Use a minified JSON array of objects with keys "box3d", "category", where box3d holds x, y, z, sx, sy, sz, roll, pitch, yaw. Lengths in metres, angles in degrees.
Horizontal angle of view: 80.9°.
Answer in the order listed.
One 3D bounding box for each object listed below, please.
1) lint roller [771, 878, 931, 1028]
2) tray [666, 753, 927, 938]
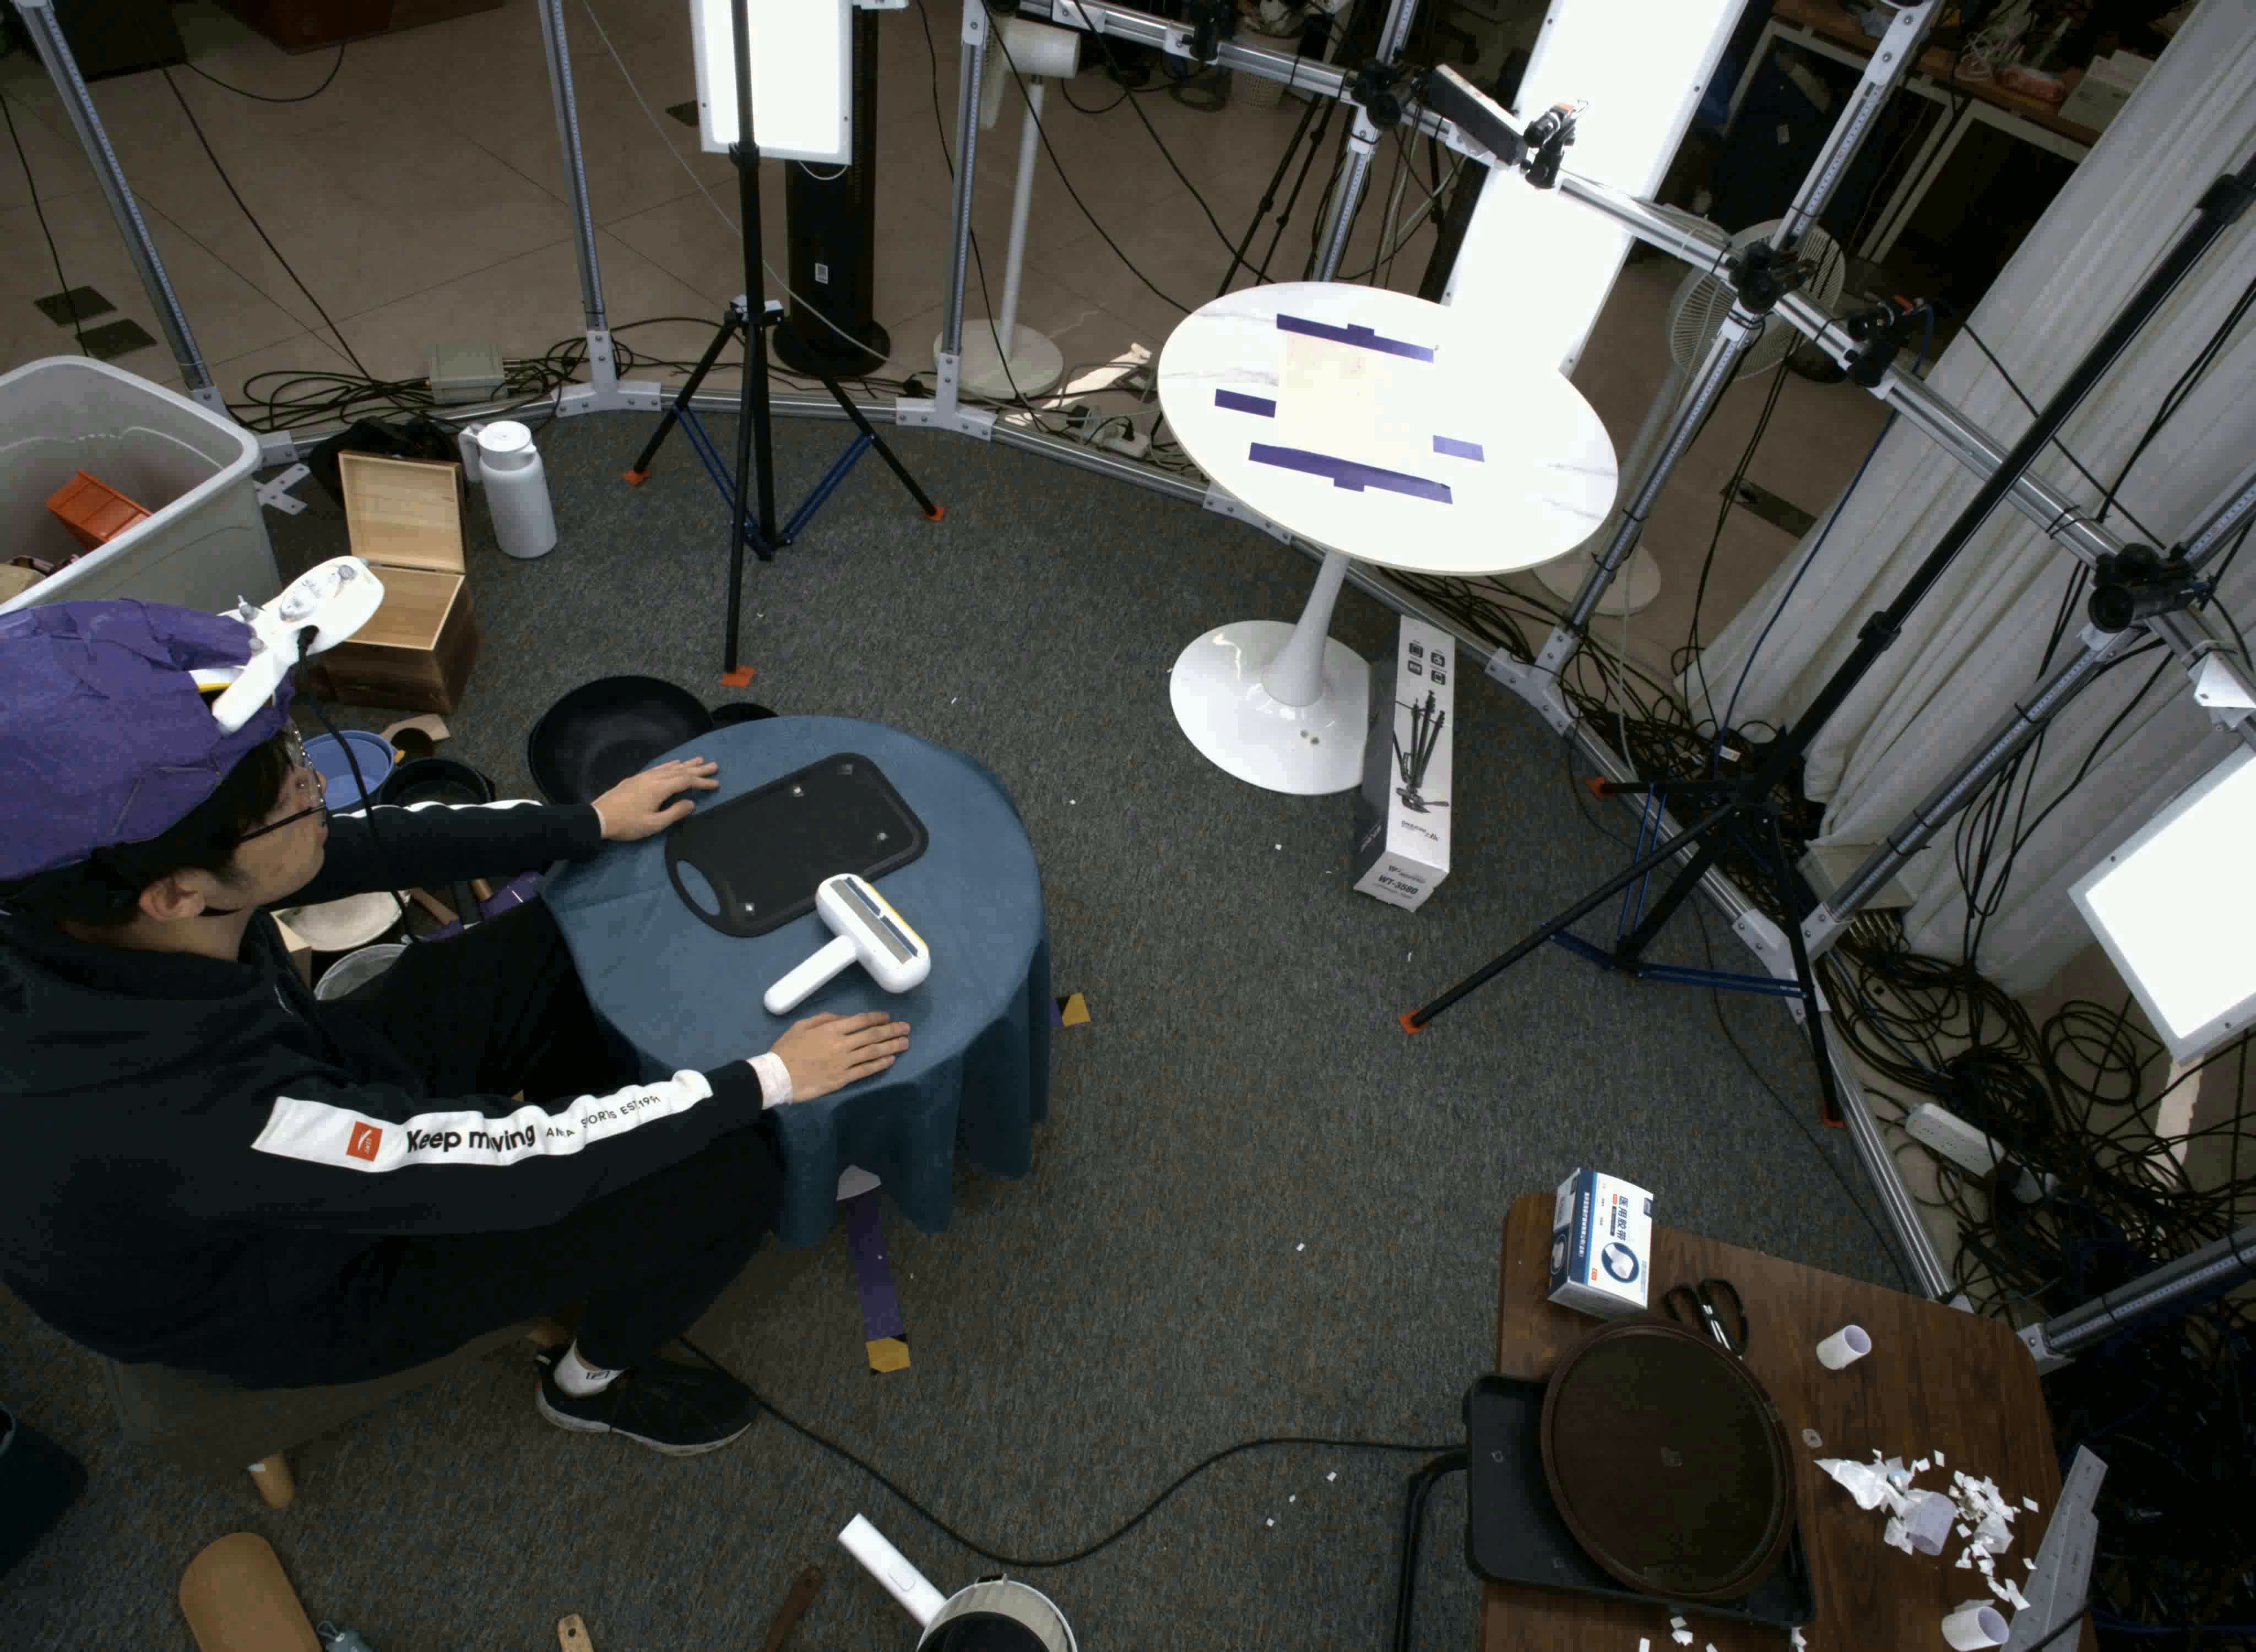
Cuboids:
[{"box3d":[-0.359,0.173,1.600,0.192,0.076,0.187,-33,60,-16],"category":"lint roller"},{"box3d":[-0.439,0.021,1.706,0.327,0.010,0.206,-28,65,-30],"category":"tray"}]
